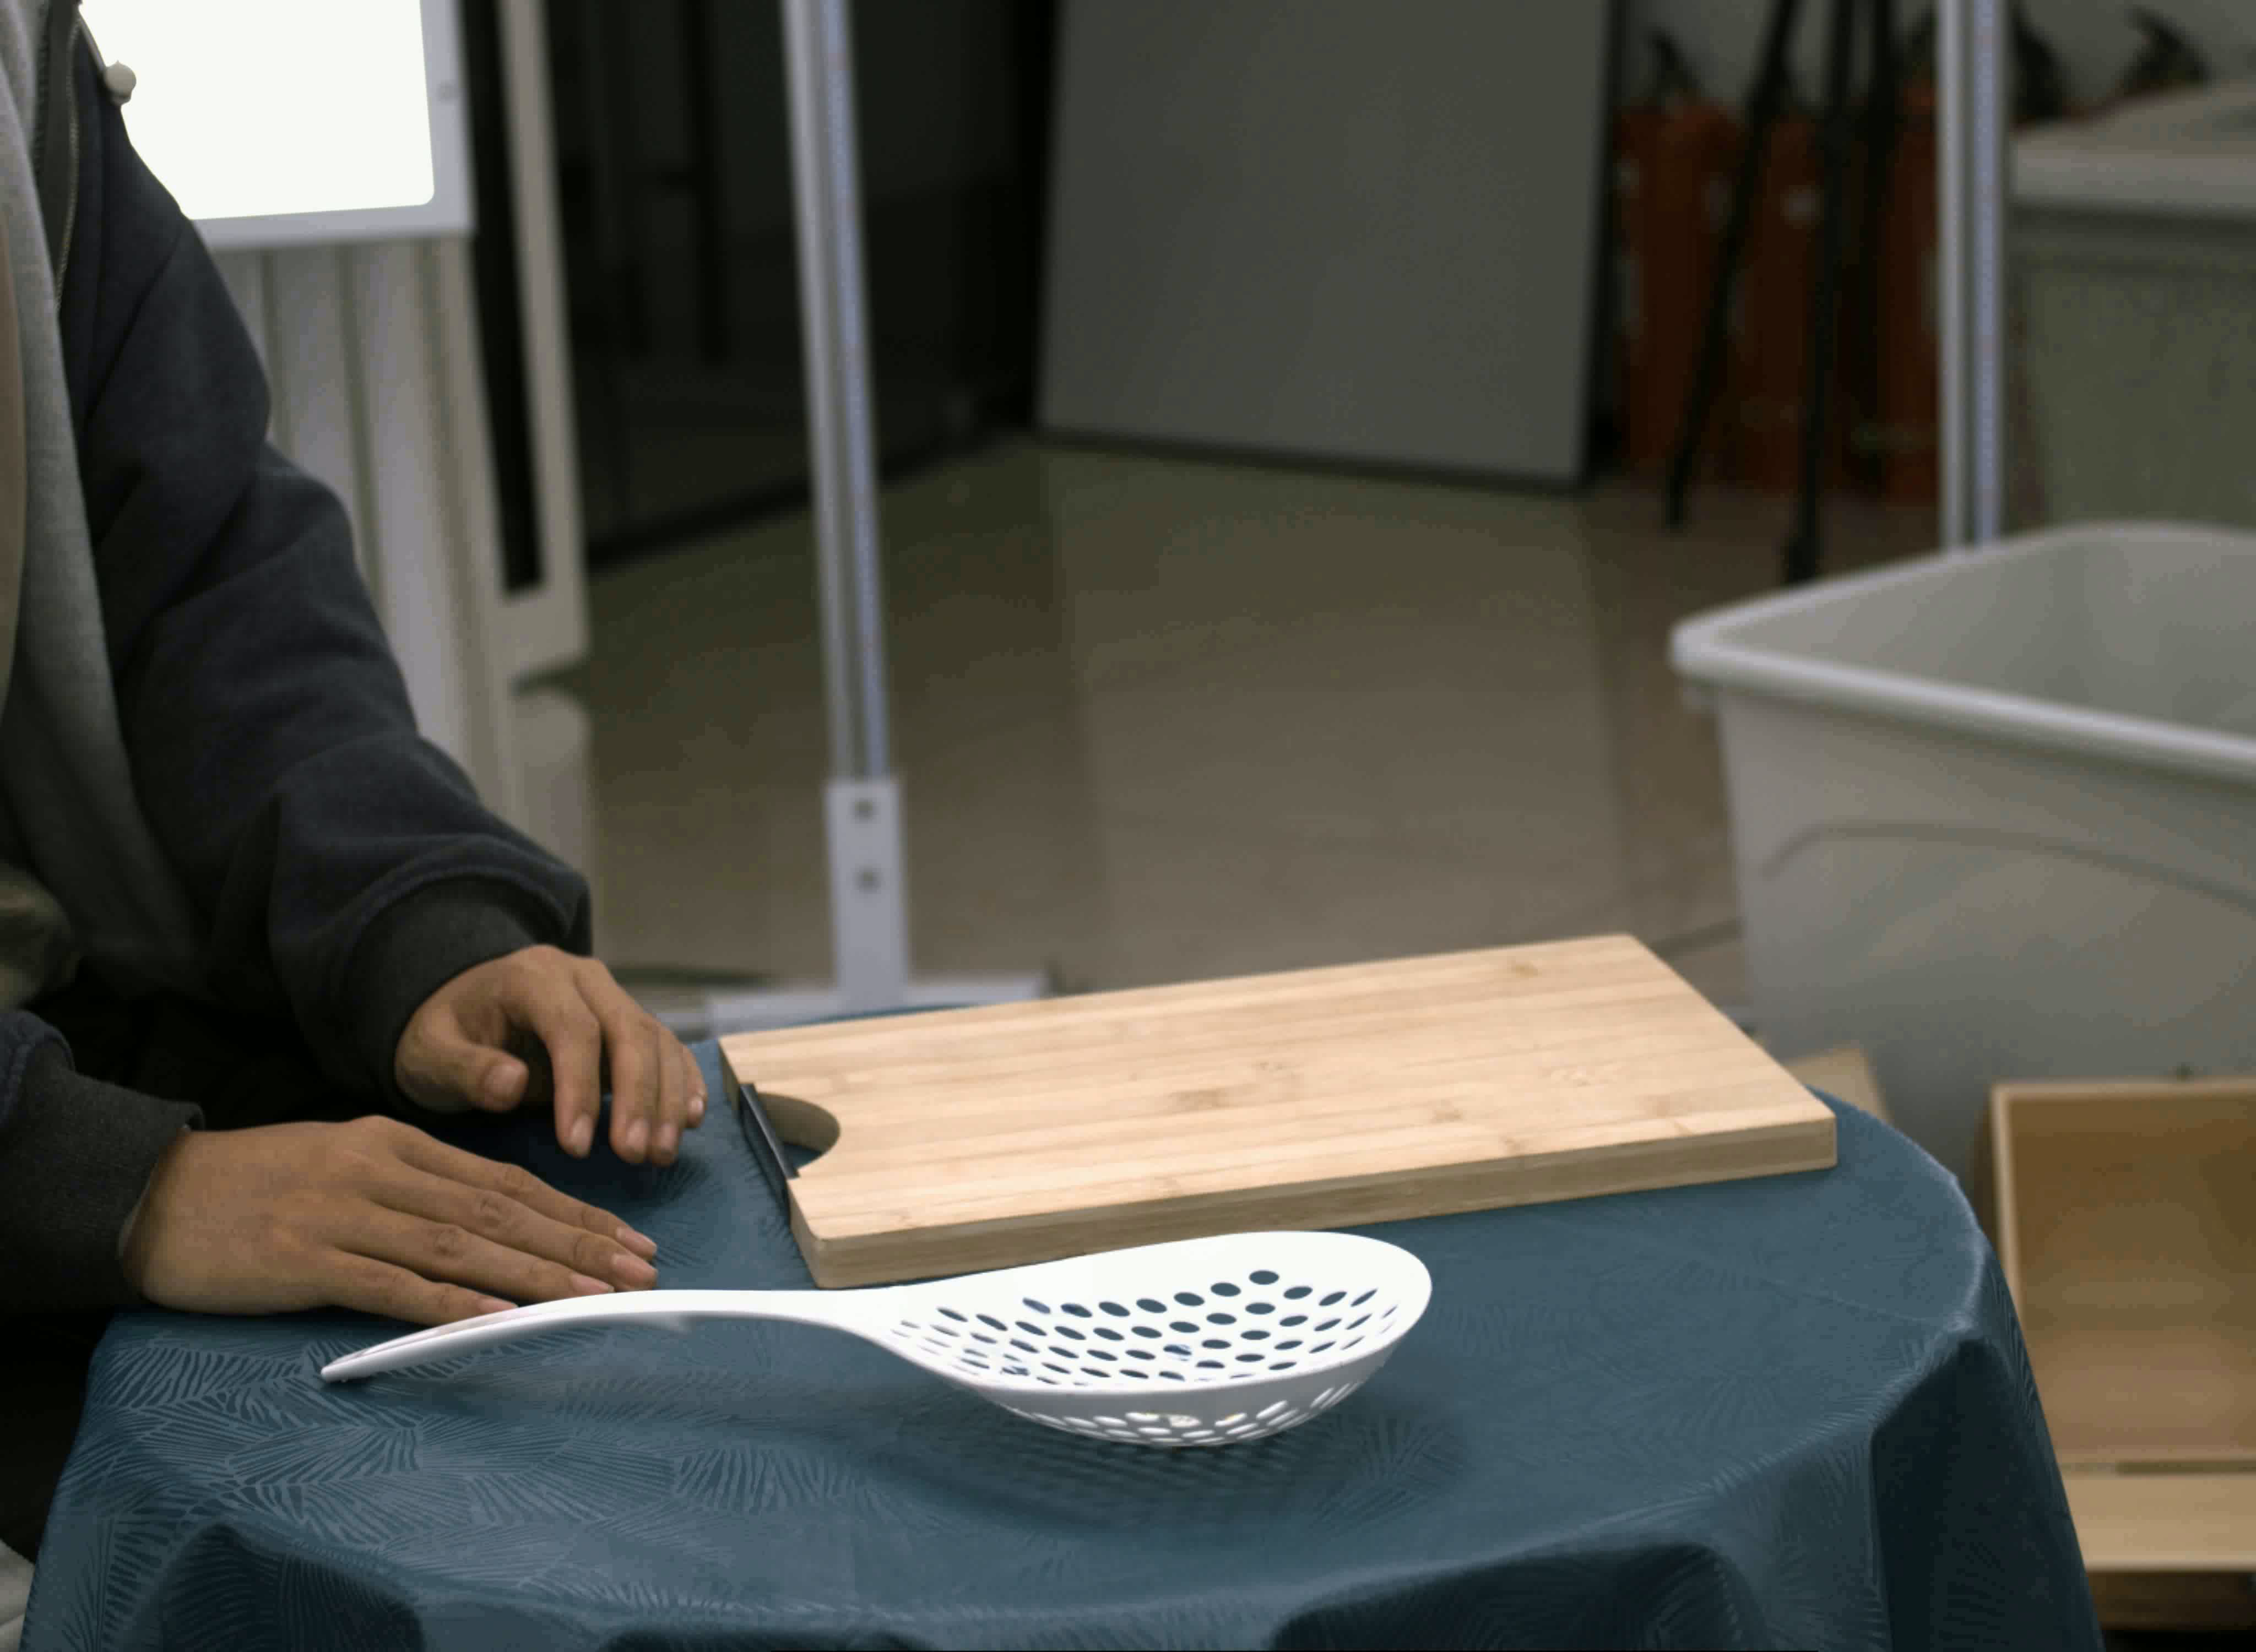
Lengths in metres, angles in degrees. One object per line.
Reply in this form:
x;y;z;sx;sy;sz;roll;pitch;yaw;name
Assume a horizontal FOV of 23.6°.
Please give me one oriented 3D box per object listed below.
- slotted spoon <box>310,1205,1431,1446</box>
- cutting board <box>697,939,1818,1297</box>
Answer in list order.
-0.080;0.152;1.579;0.347;0.051;0.135;1;16;19;slotted spoon
0.039;0.096;1.829;0.342;0.024;0.252;-7;13;-10;cutting board
